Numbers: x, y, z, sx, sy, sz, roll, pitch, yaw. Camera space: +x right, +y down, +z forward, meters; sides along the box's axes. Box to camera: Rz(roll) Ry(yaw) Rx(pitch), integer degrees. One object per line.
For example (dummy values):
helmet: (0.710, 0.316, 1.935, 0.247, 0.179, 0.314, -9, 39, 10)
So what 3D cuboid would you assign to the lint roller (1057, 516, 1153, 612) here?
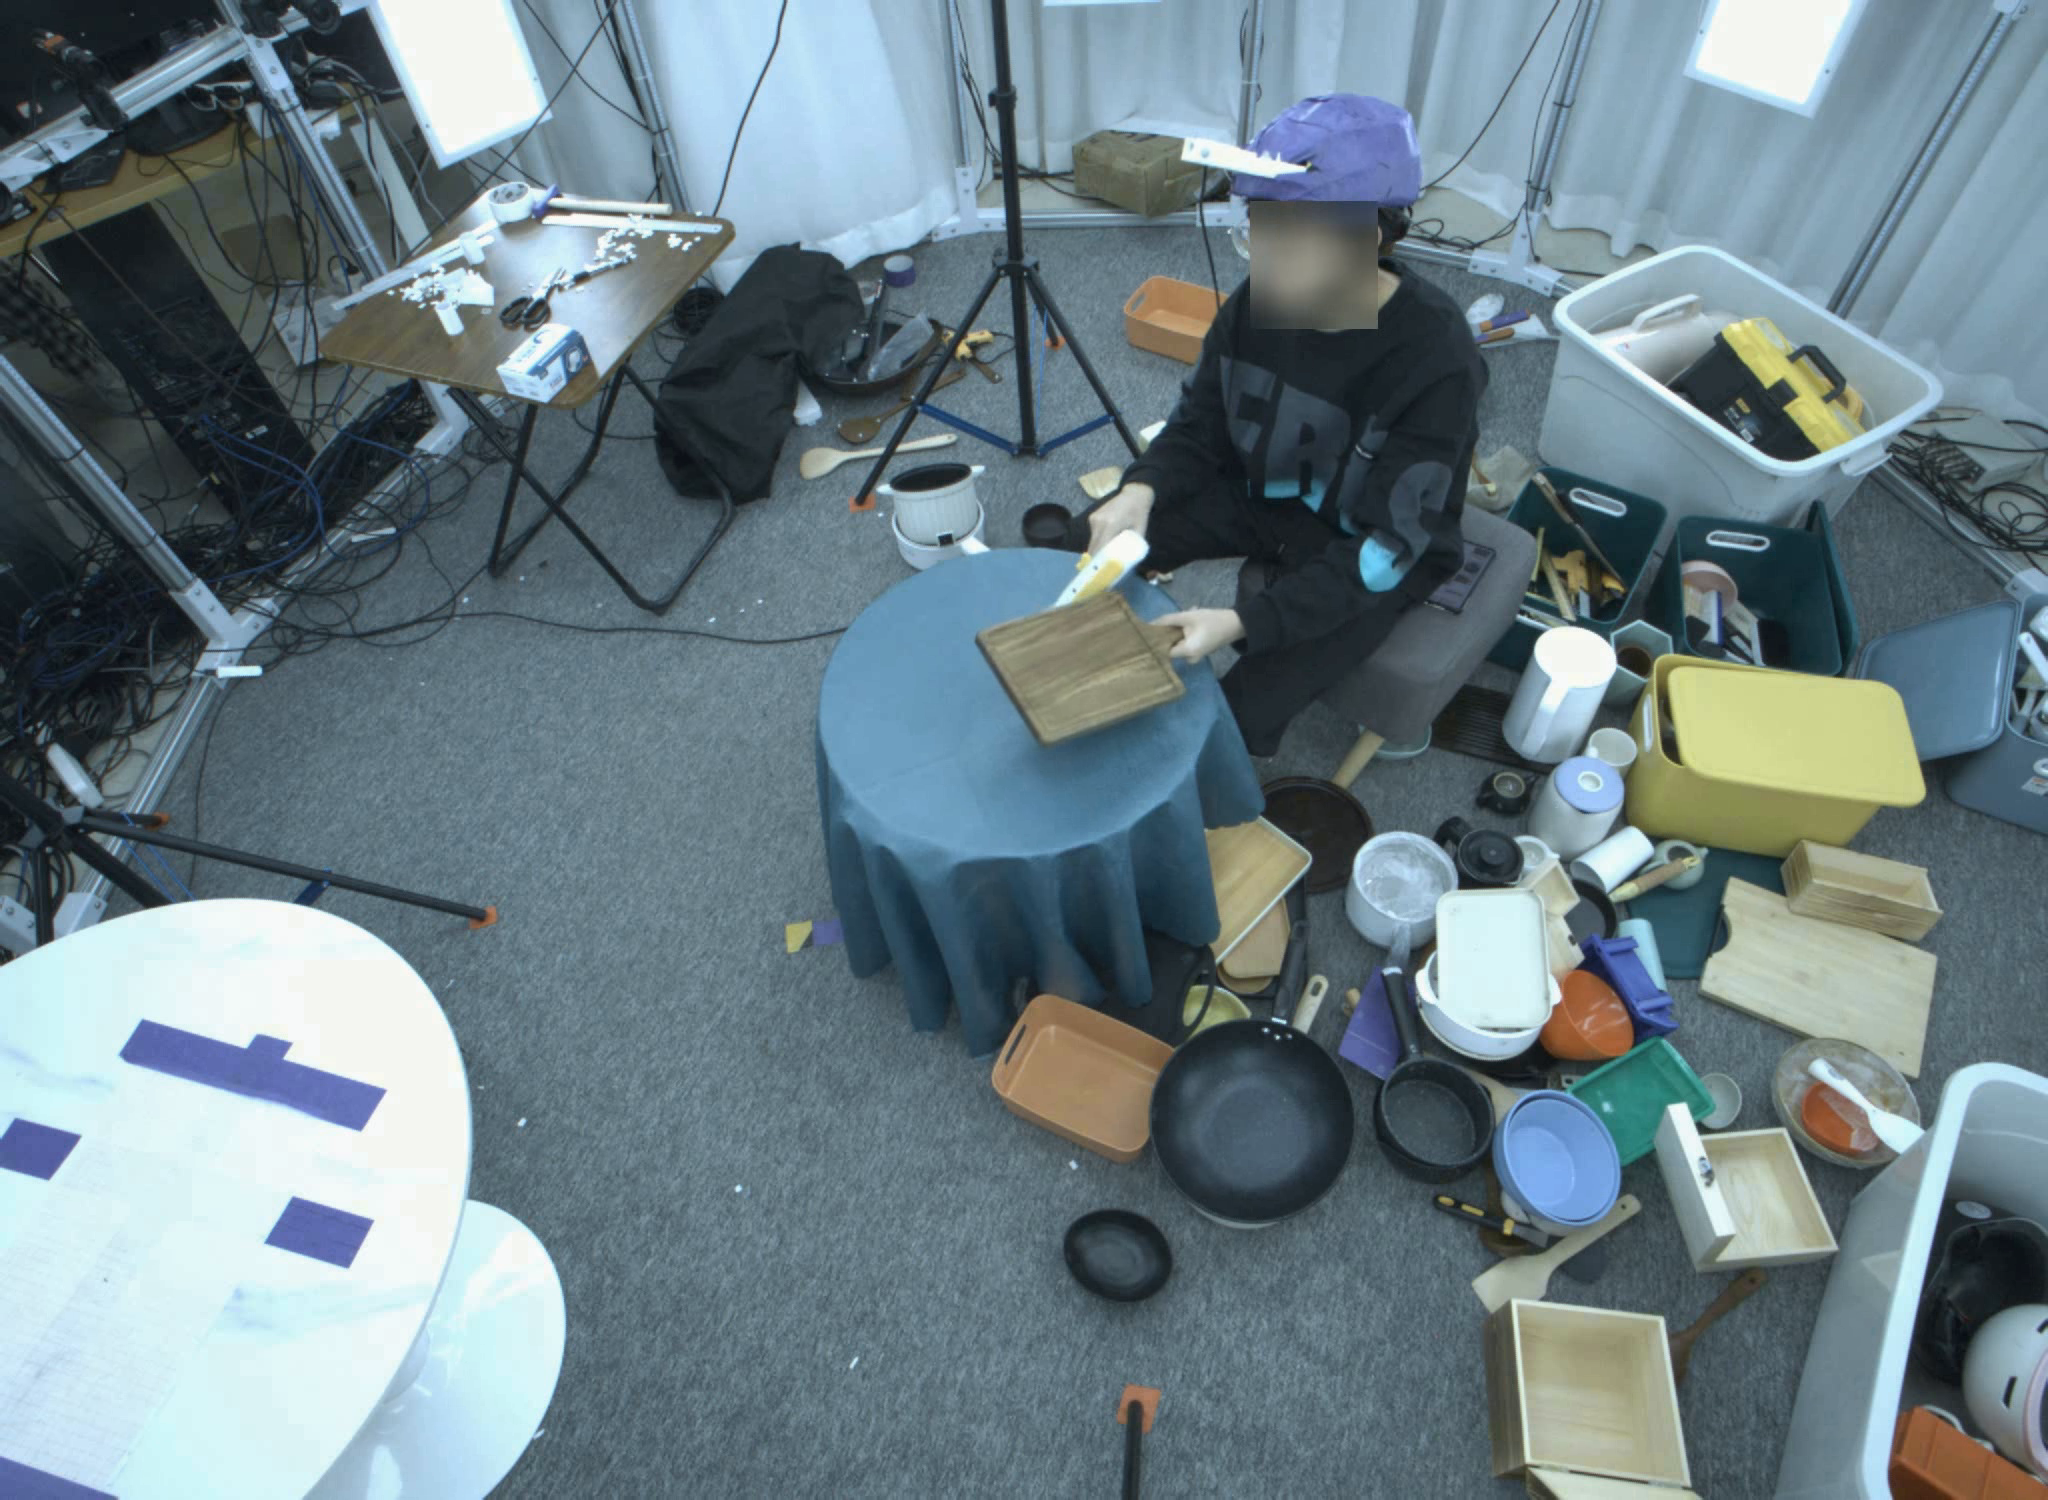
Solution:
lint roller: (0.132, -0.295, 1.881, 0.074, 0.192, 0.192, 36, 41, -4)

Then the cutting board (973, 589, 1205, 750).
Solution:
cutting board: (0.120, -0.133, 1.739, 0.357, 0.023, 0.198, -20, 69, -31)
